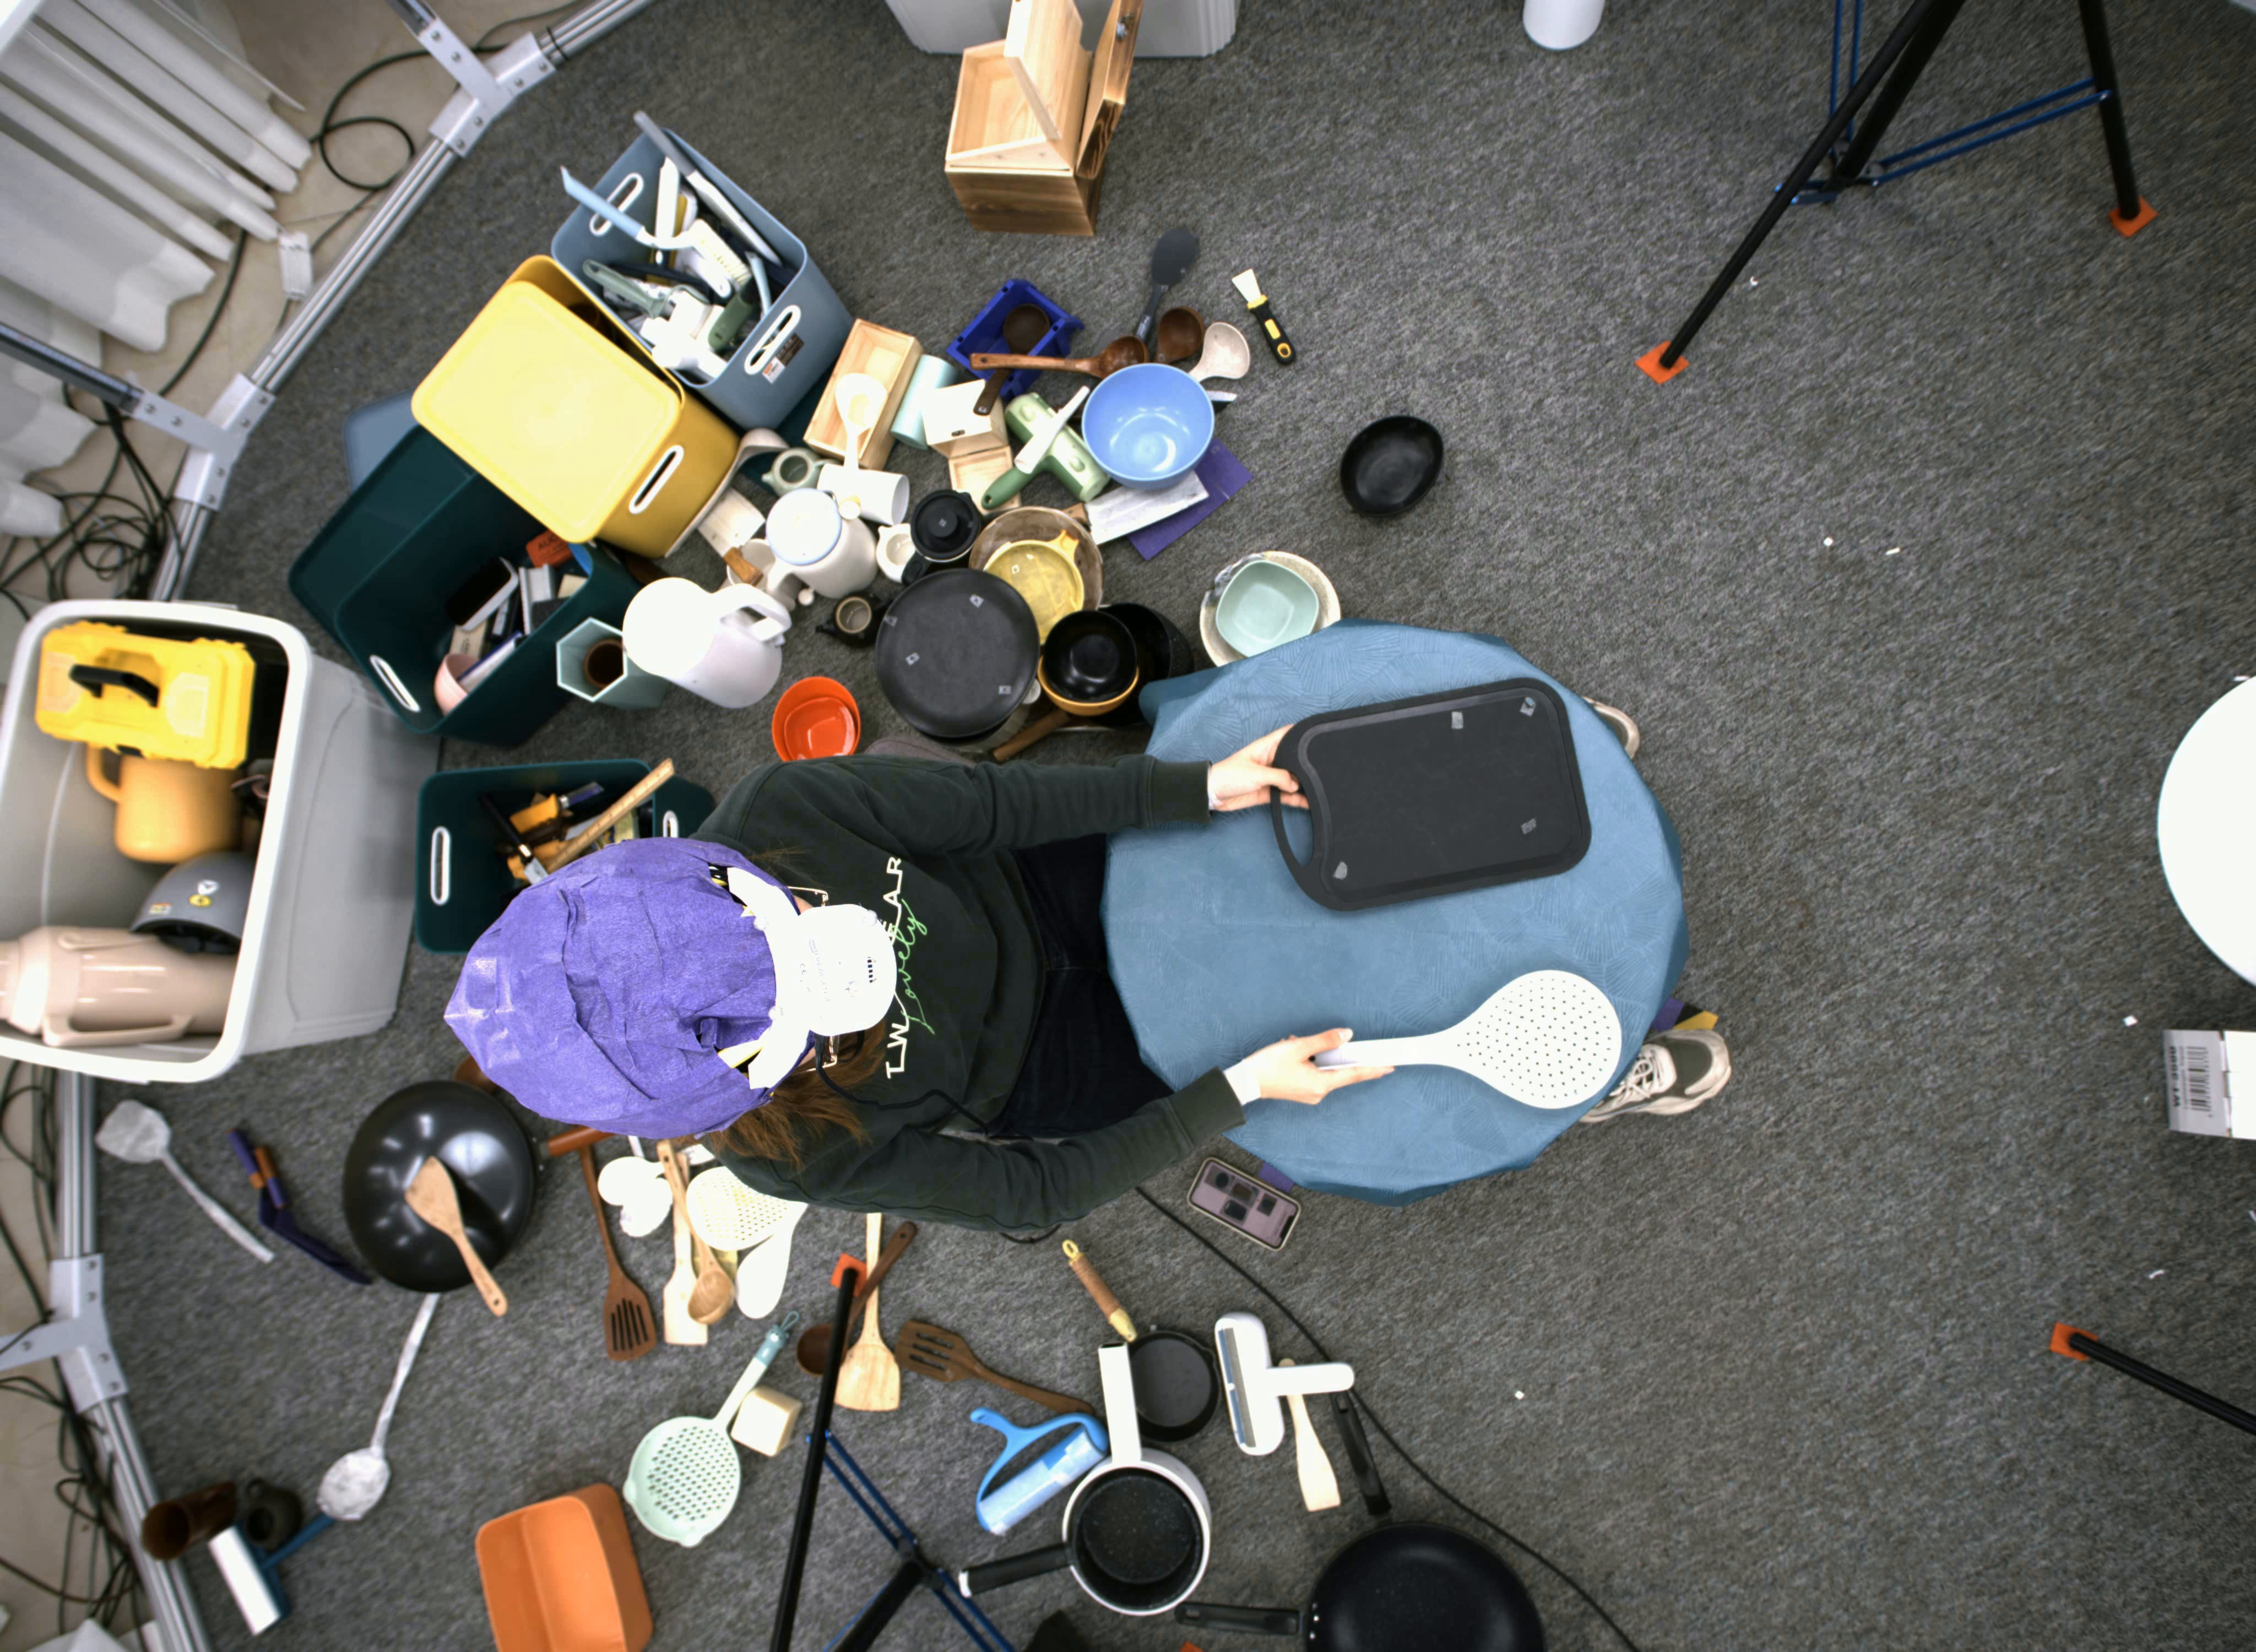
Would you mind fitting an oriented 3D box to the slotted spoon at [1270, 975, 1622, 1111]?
[{"bbox_3d":[0.320,0.227,1.406,0.351,0.046,0.135,-6,88,5],"label":"slotted spoon"}]

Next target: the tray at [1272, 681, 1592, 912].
[{"bbox_3d":[0.315,-0.031,1.440,0.326,0.010,0.210,-10,87,3],"label":"tray"}]
